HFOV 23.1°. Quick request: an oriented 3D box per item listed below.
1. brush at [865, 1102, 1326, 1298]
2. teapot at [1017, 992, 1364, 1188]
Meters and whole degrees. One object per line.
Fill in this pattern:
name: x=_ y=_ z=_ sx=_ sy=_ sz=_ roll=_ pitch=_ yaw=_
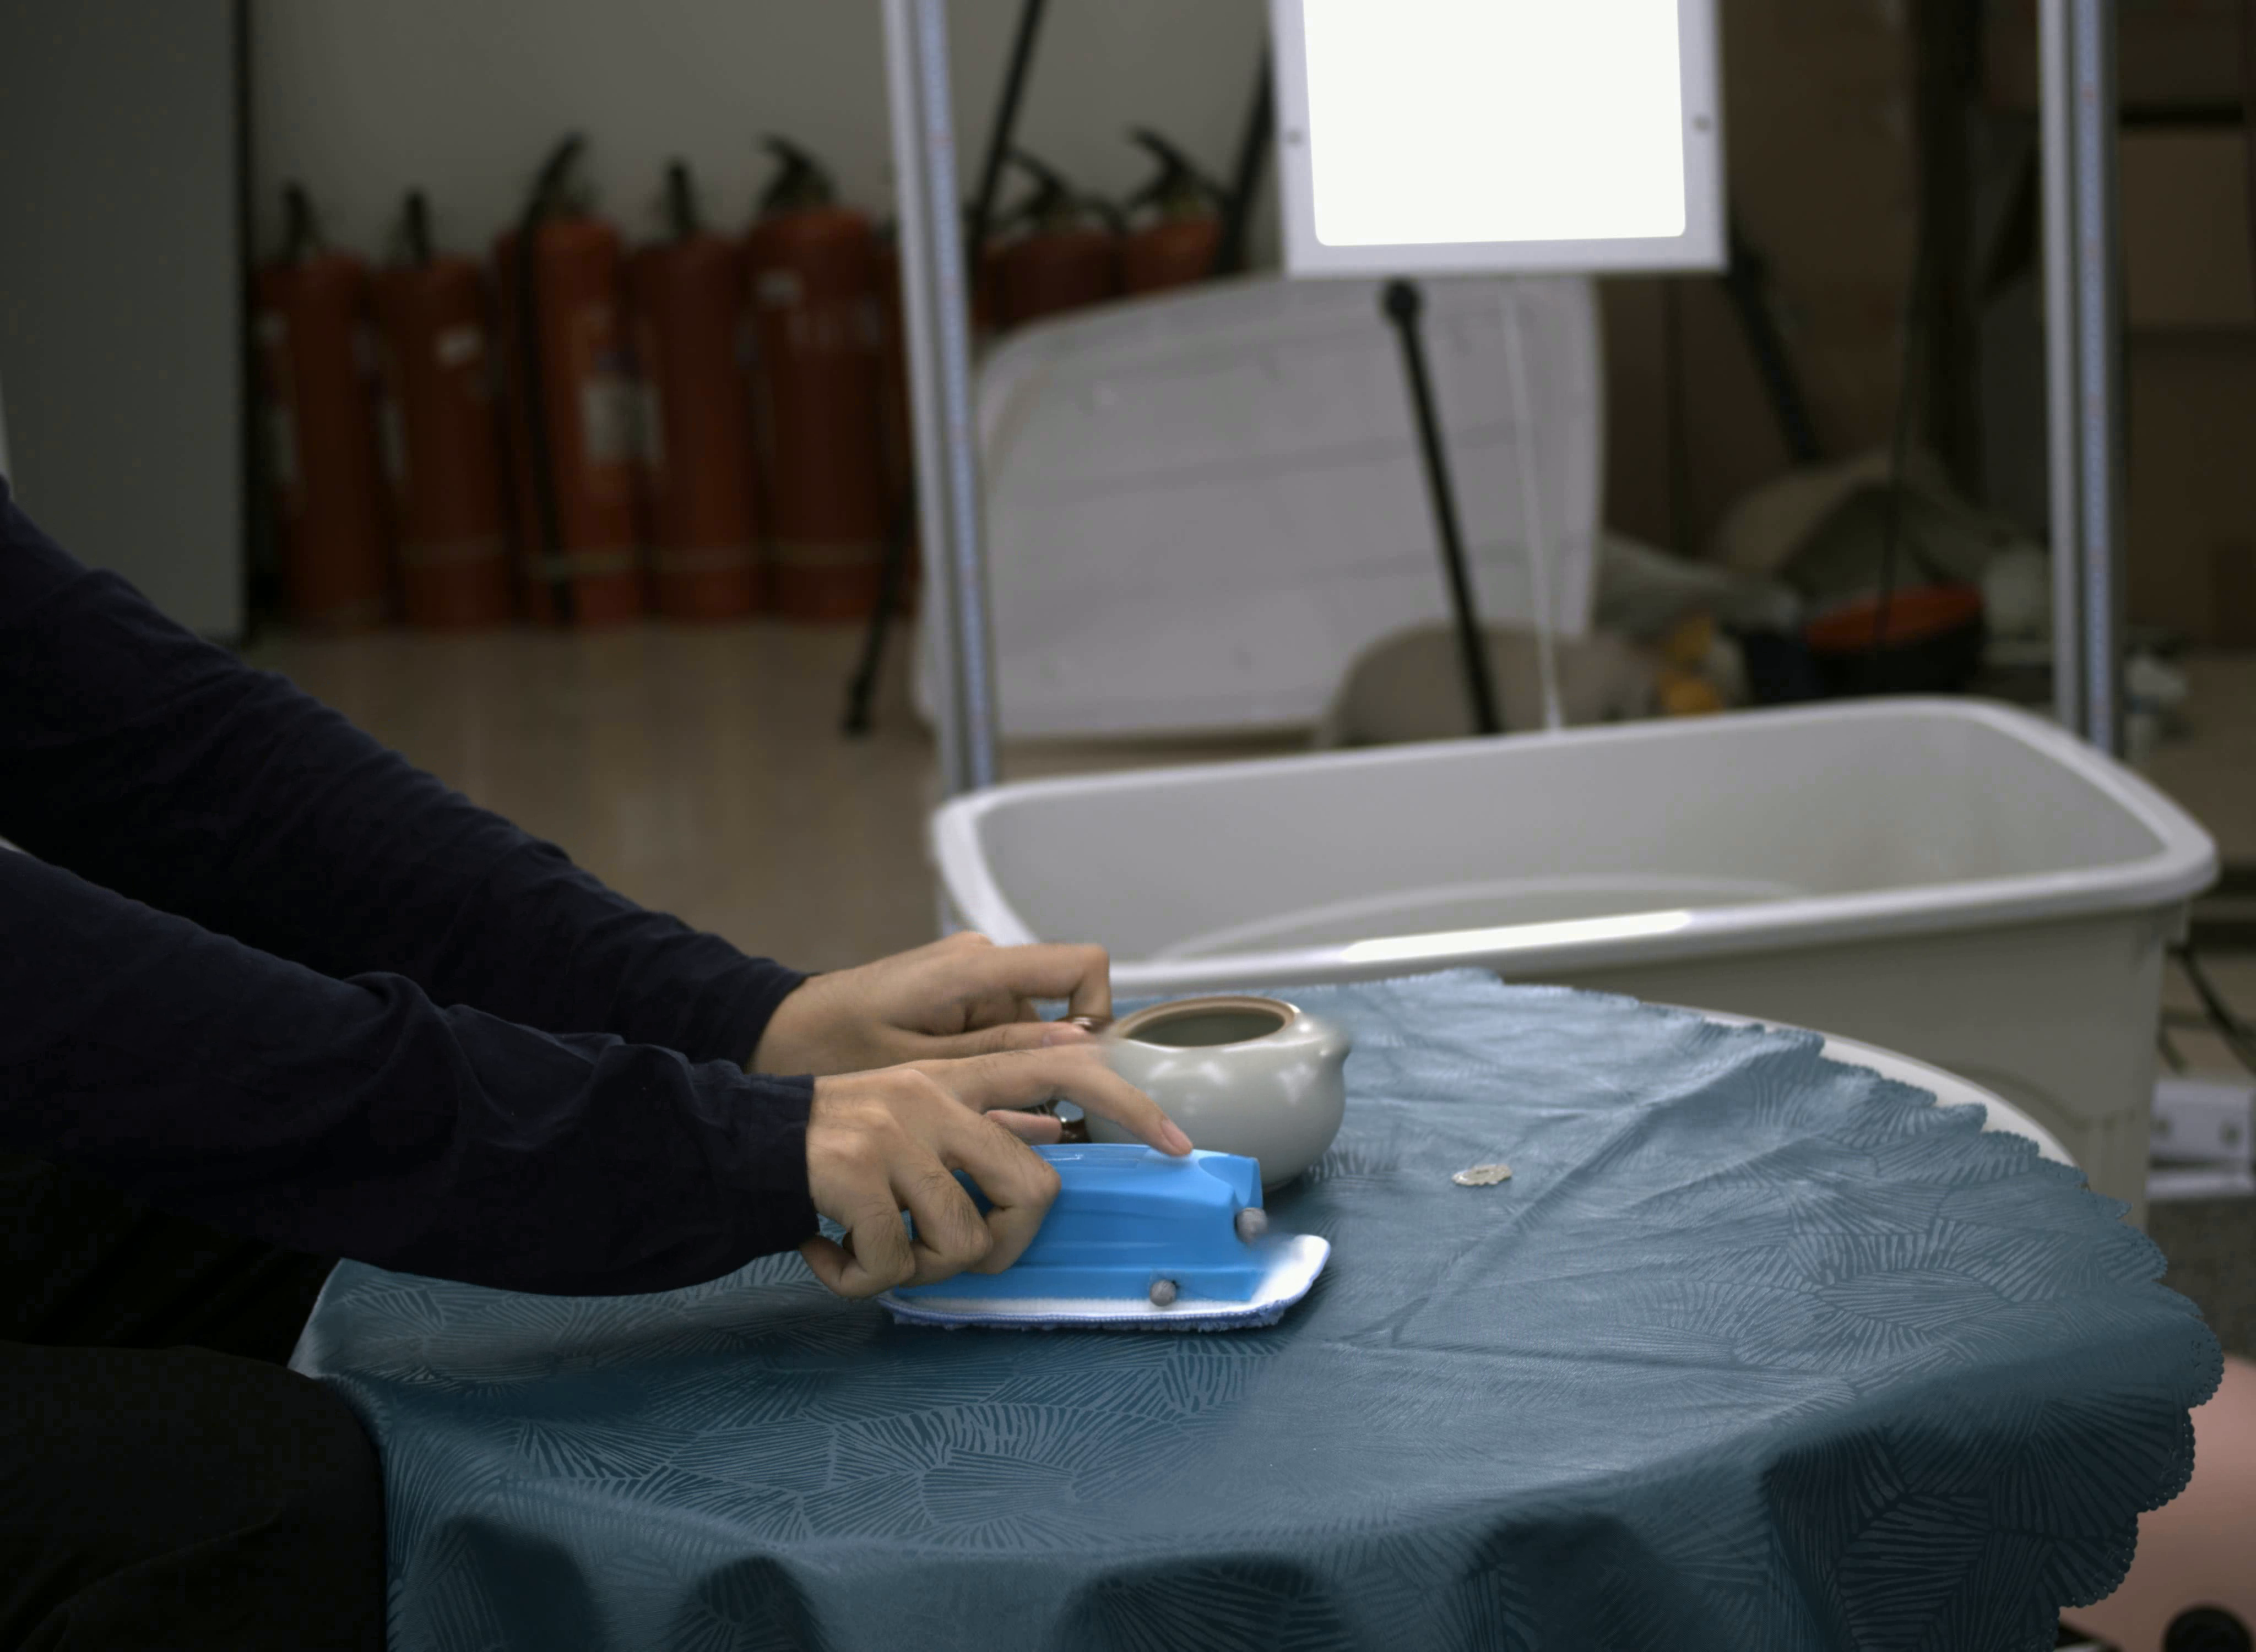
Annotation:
brush: x=-0.009 y=0.121 z=1.783 sx=0.145 sy=0.056 sz=0.082 roll=6 pitch=10 yaw=16
teapot: x=0.022 y=0.093 z=1.904 sx=0.130 sy=0.060 sz=0.090 roll=2 pitch=18 yaw=20
